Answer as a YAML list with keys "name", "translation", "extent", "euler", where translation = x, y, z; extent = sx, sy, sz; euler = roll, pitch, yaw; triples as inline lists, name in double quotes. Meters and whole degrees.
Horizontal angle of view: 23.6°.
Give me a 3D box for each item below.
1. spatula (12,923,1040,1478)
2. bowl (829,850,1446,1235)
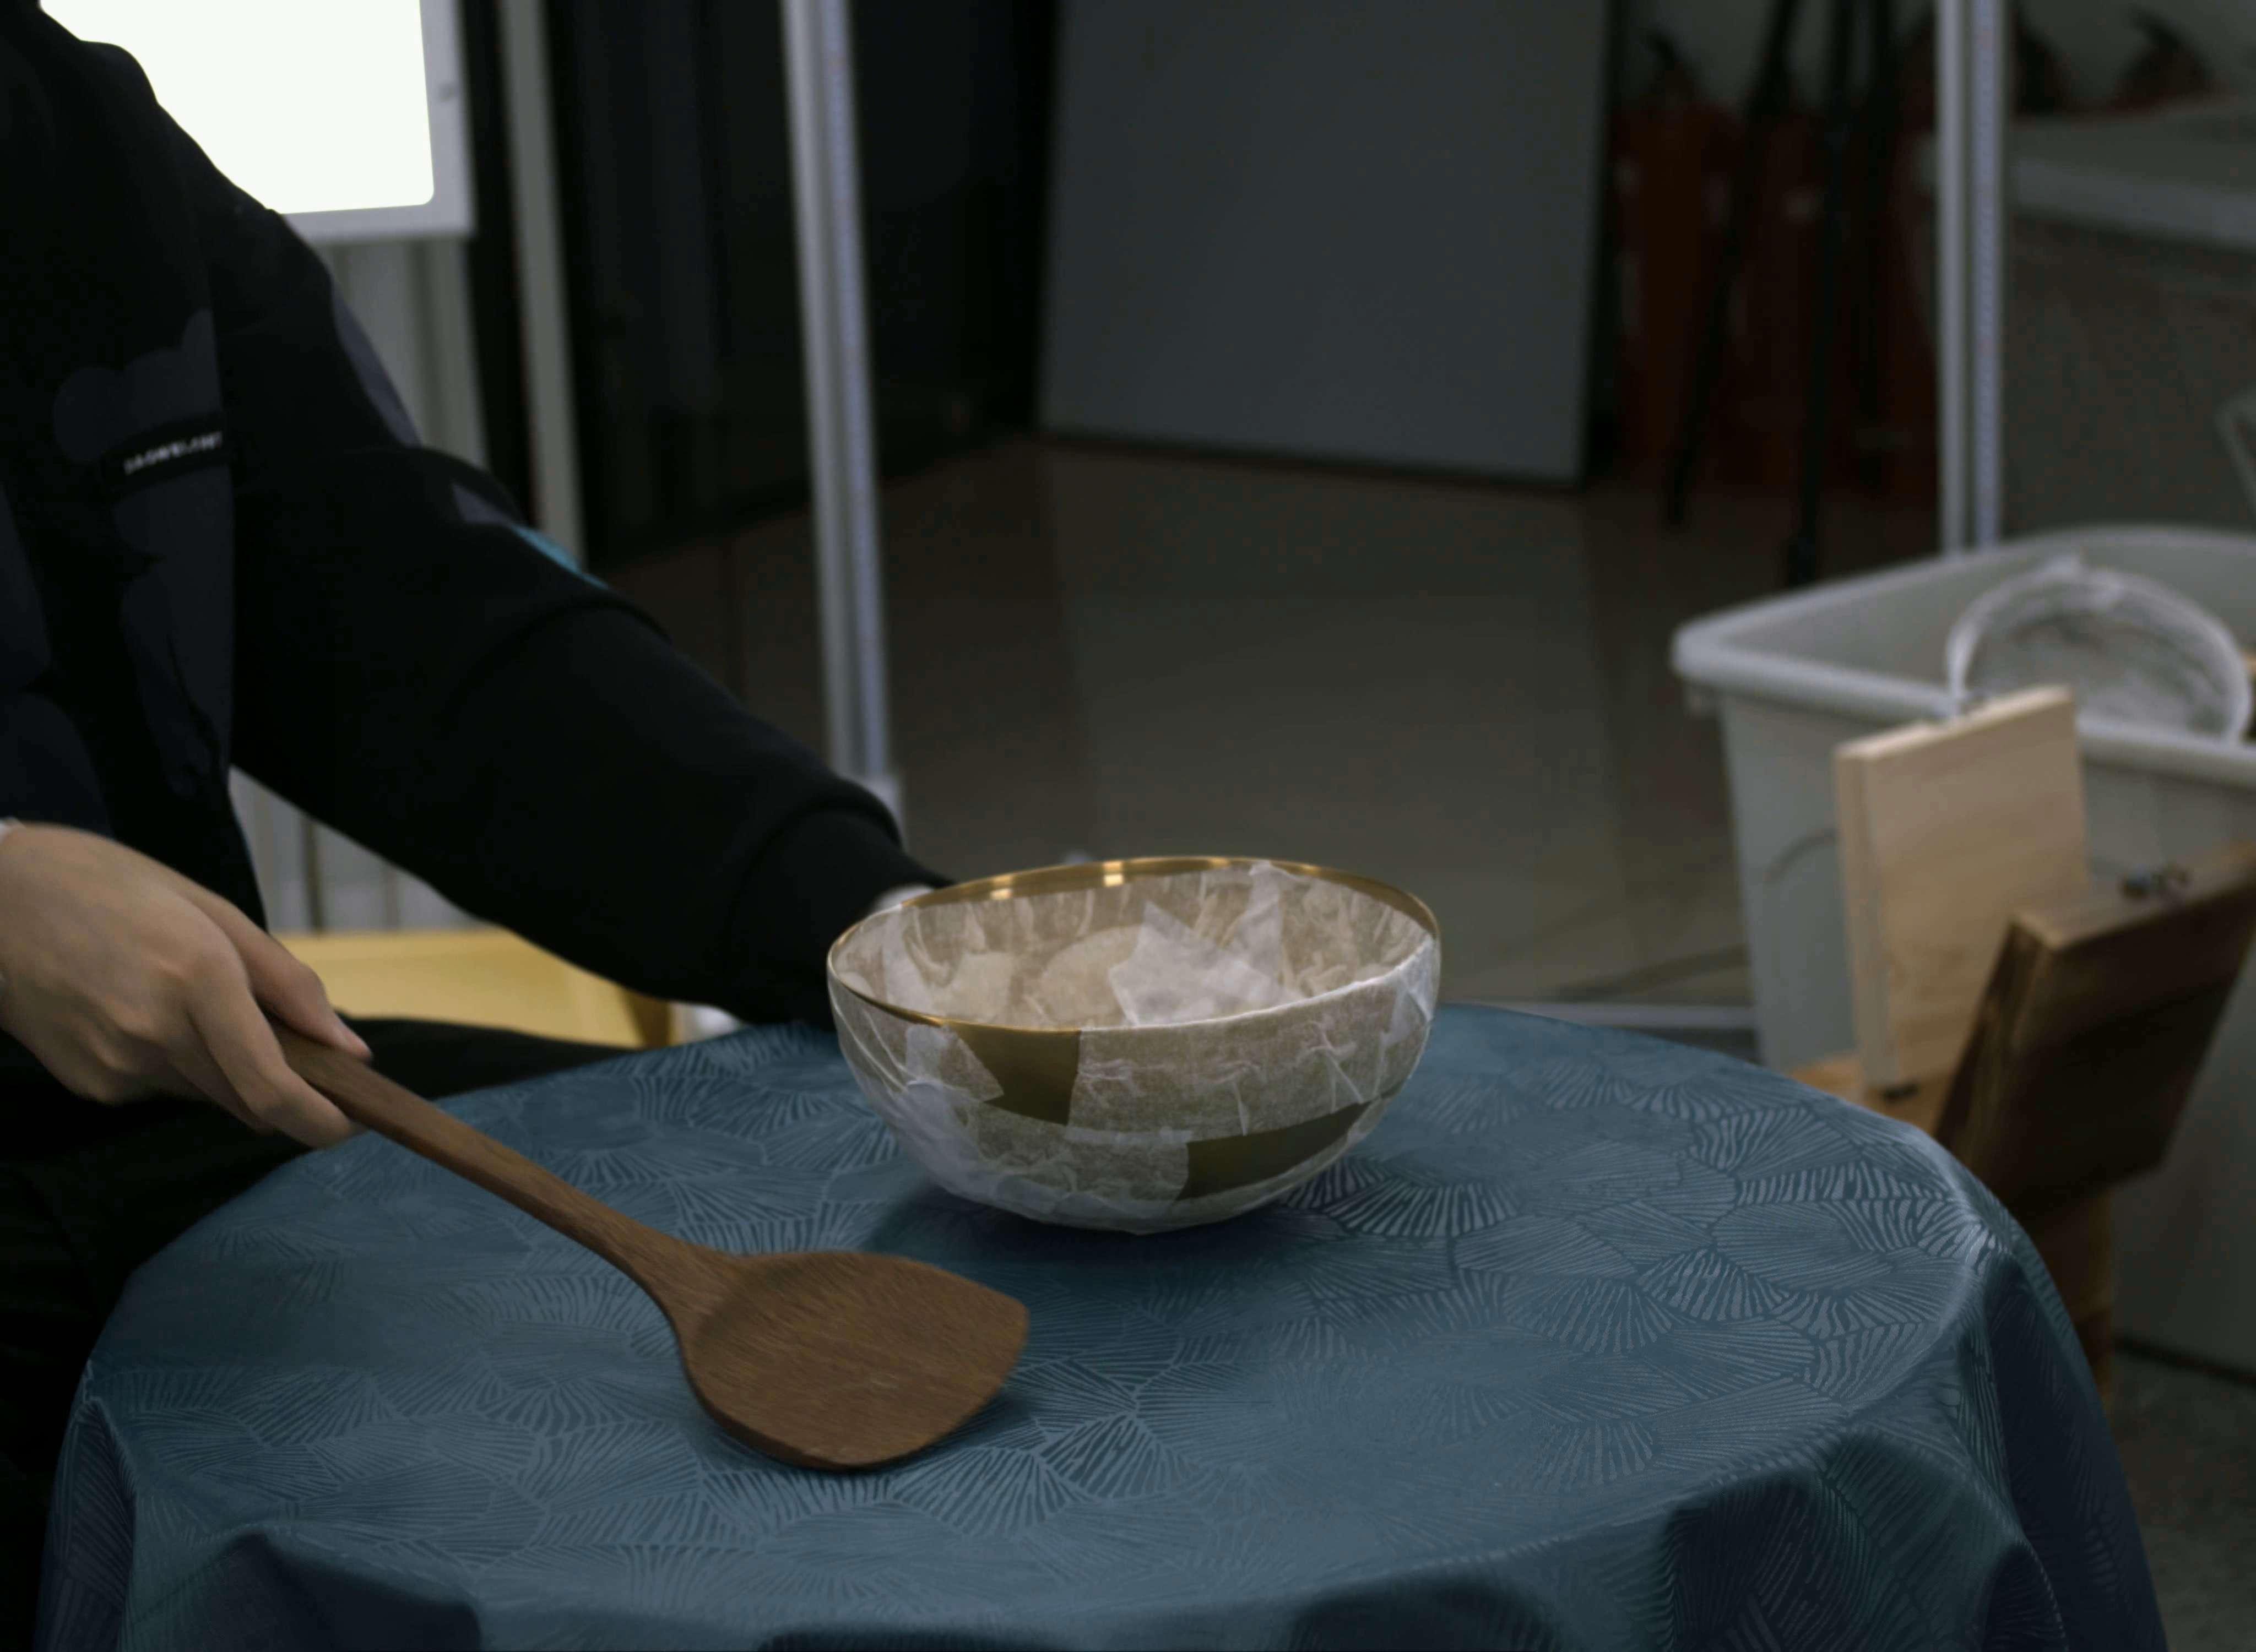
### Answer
- name: "spatula"
  translation: [-0.197, 0.104, 1.646]
  extent: [0.388, 0.016, 0.095]
  euler: [24, 39, 27]
- name: "bowl"
  translation: [0.005, 0.077, 1.751]
  extent: [0.212, 0.095, 0.215]
  euler: [-5, 14, 0]
